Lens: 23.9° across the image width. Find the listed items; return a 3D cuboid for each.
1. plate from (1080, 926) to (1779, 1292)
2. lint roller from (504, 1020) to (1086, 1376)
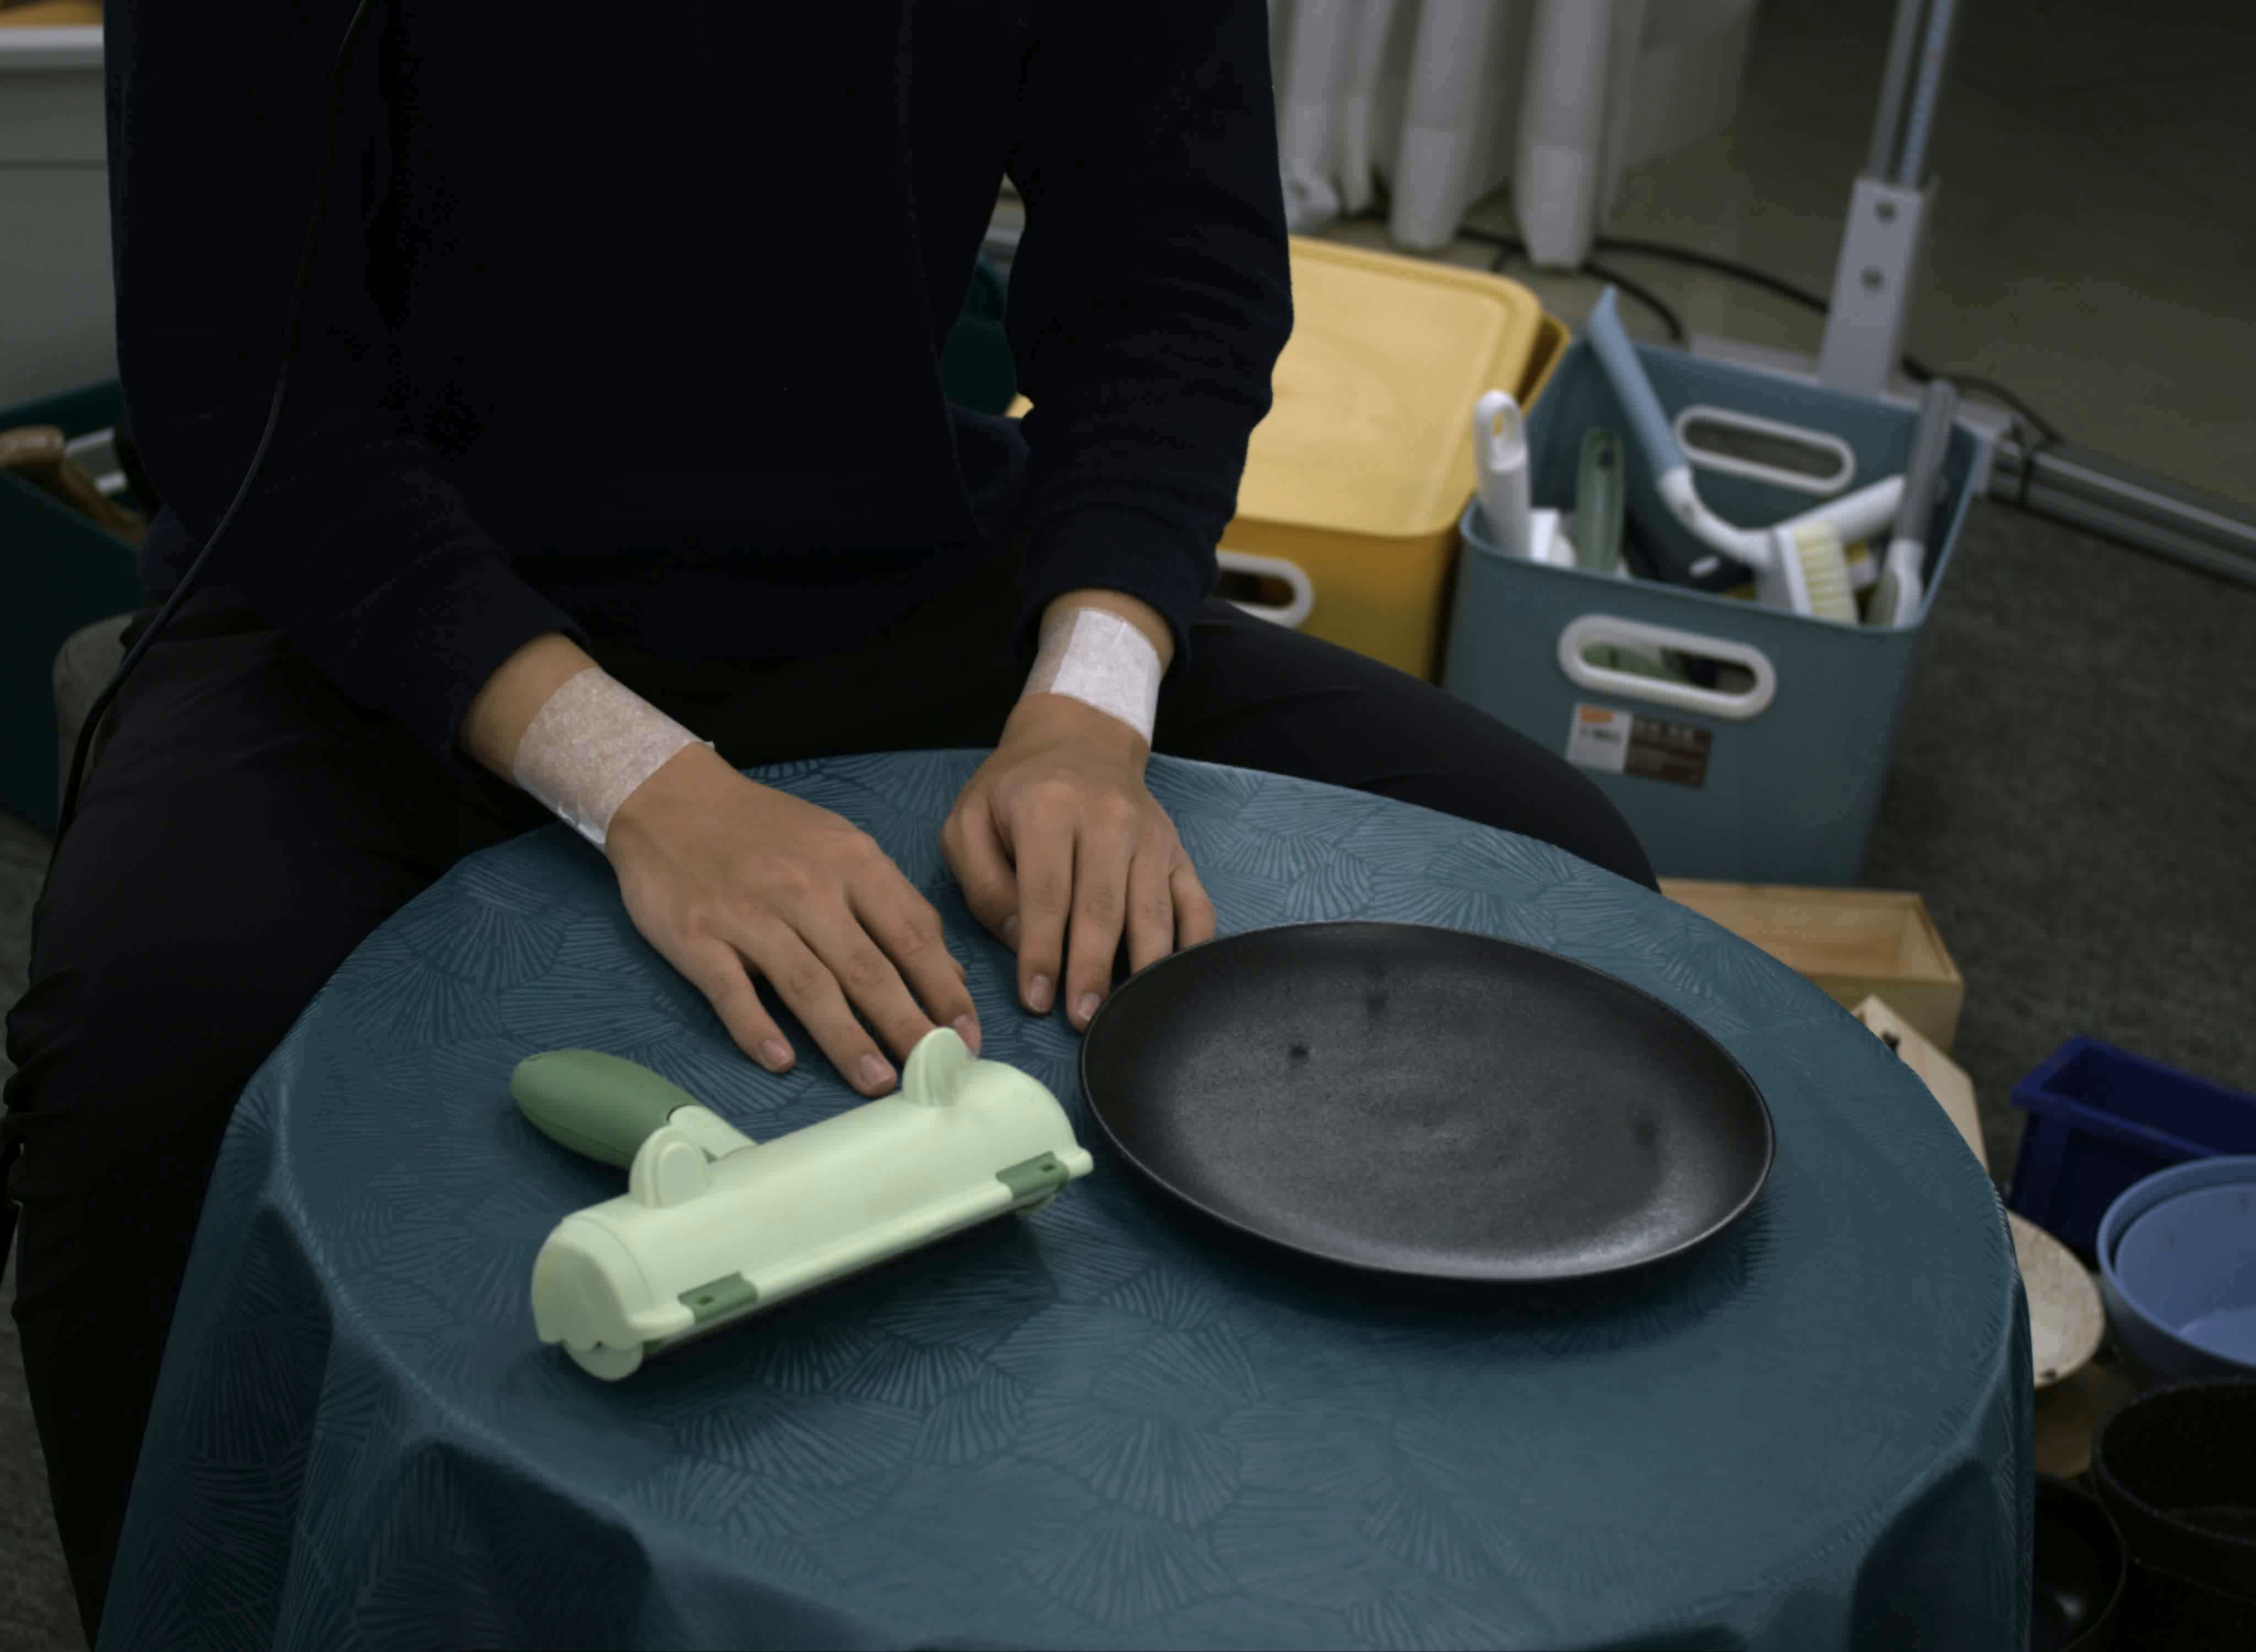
[{"bbox_3d":[0.103,0.102,1.843,0.243,0.023,0.246,5,27,-3],"label":"plate"},{"bbox_3d":[-0.140,0.091,1.740,0.197,0.082,0.185,-19,43,-41],"label":"lint roller"}]
